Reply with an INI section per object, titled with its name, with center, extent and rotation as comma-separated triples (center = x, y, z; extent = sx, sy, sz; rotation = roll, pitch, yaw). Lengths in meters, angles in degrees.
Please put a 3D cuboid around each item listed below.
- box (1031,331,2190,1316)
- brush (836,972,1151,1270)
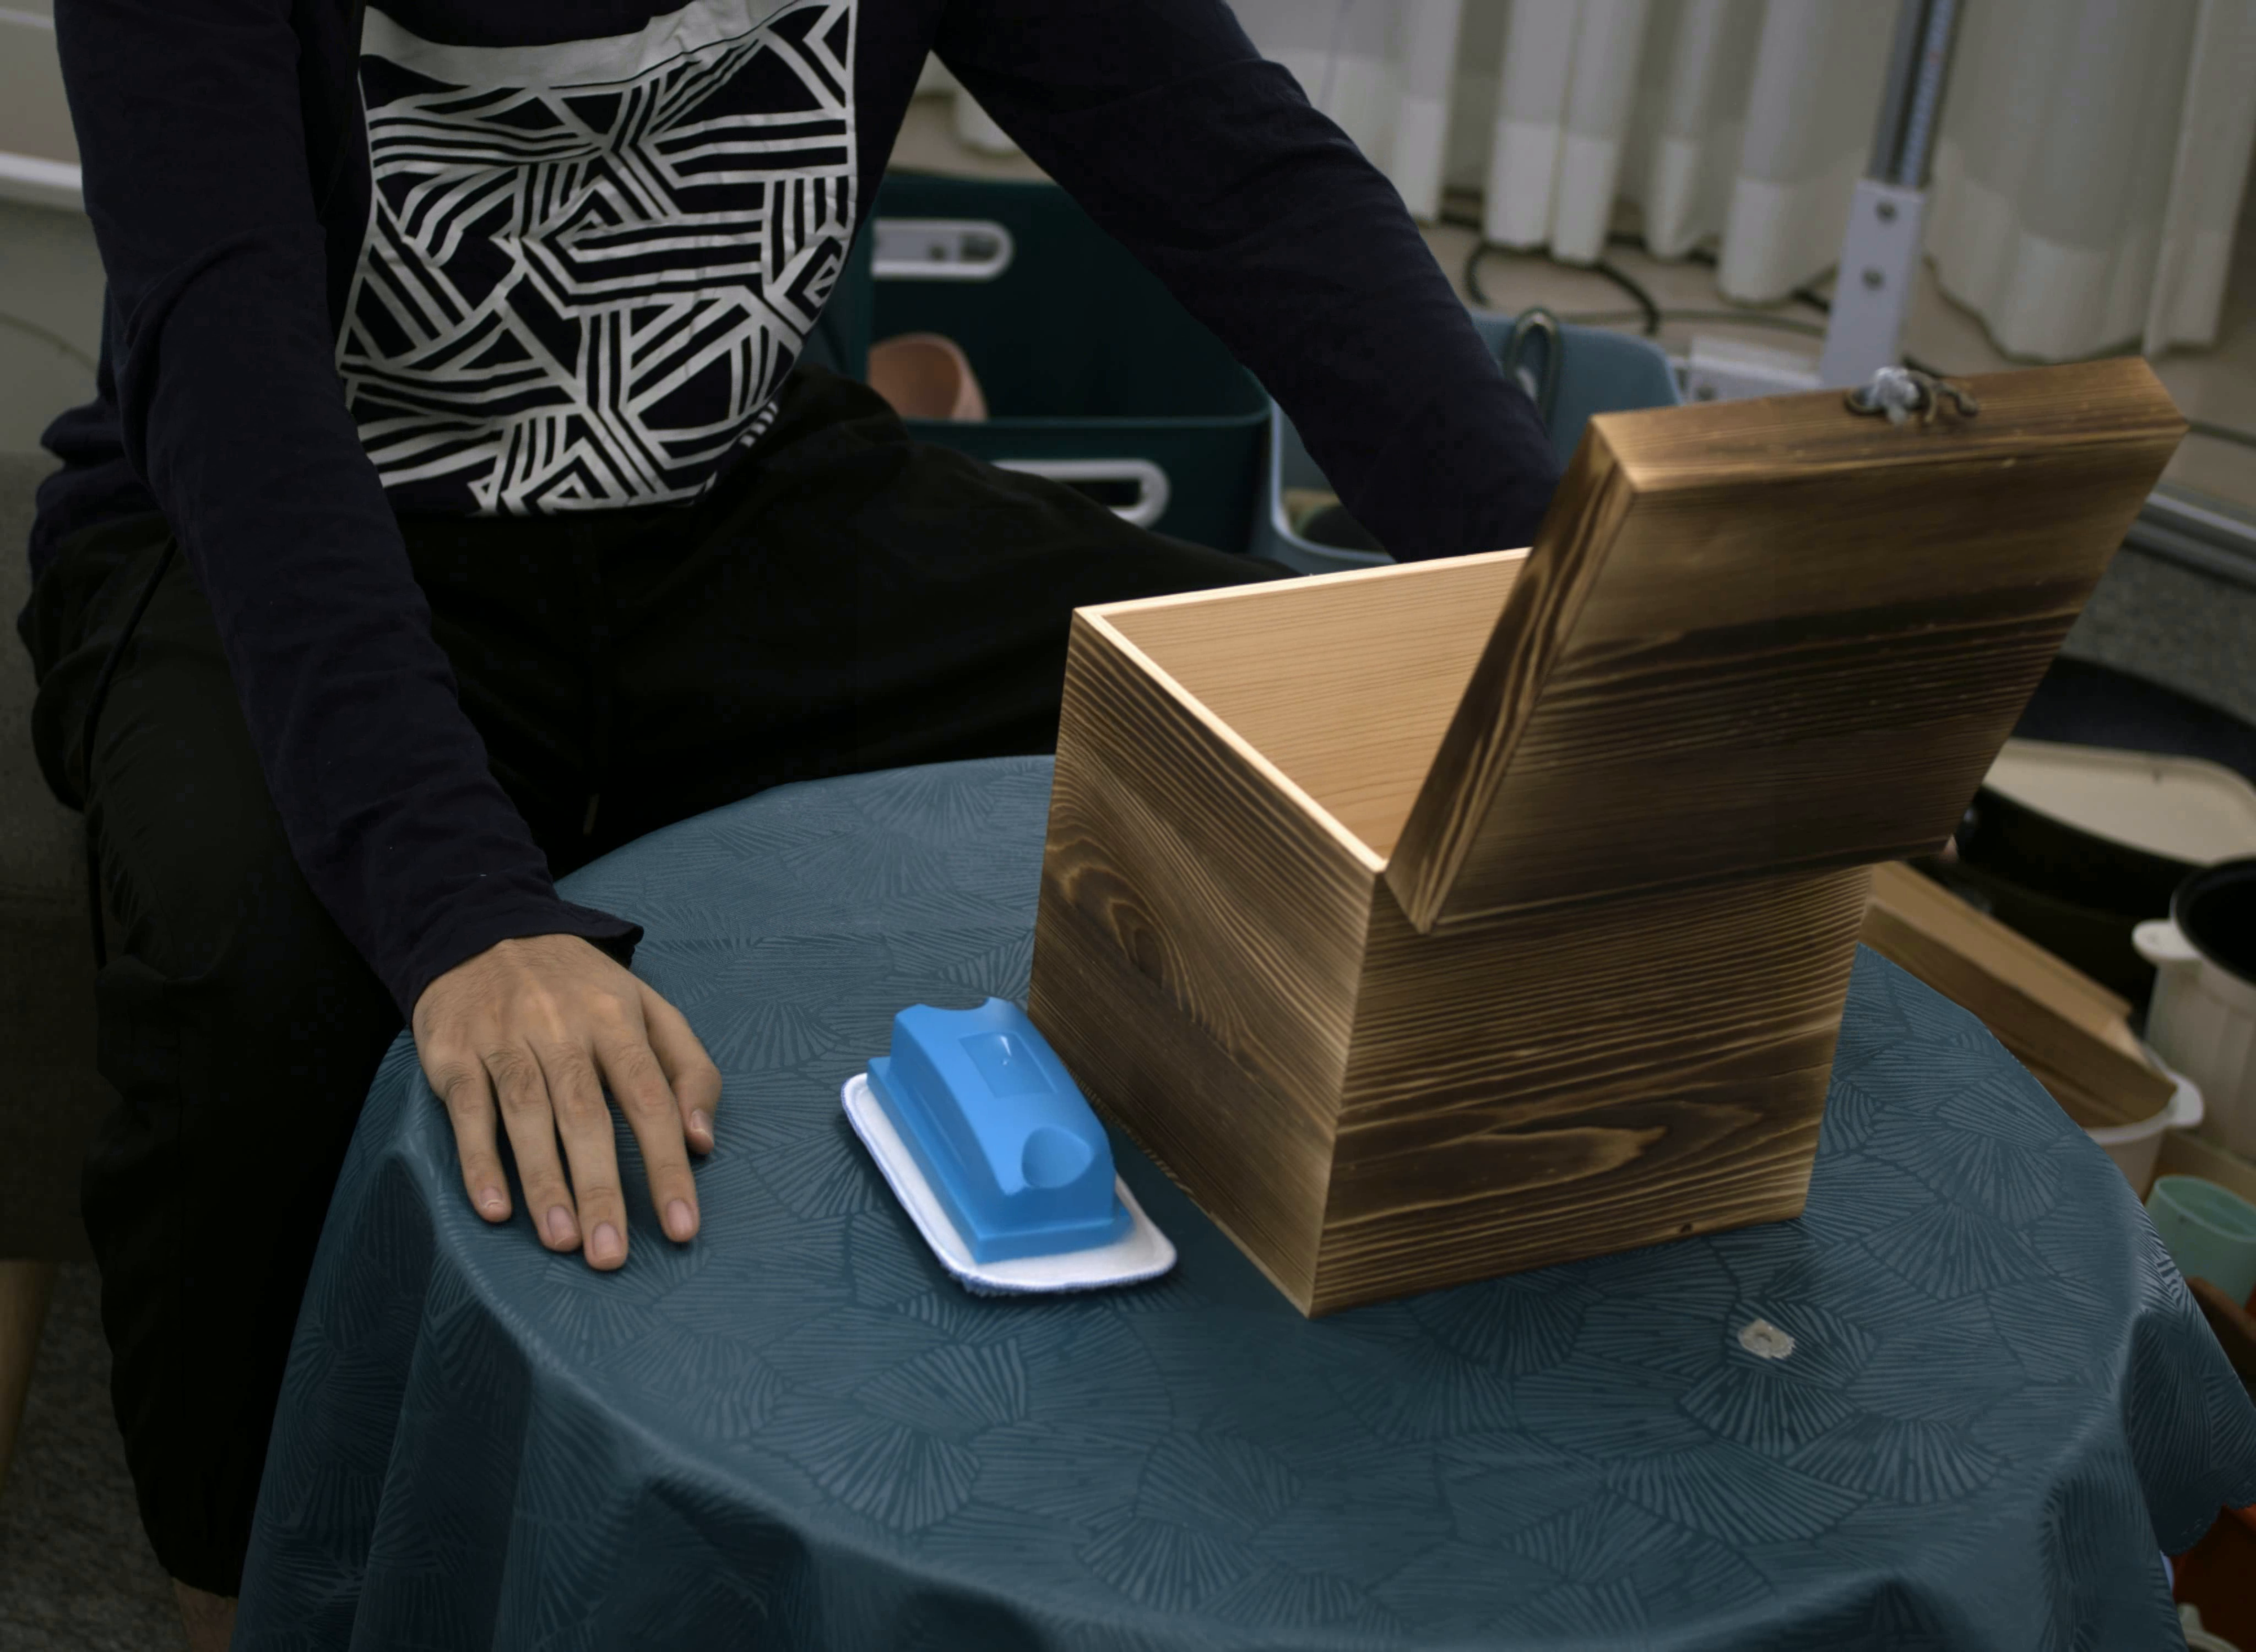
[box]
center = 0.144, -0.033, 1.749
extent = 0.207, 0.374, 0.325
rotation = -8, 30, -28
[brush]
center = -0.043, 0.095, 1.788
extent = 0.083, 0.056, 0.145
rotation = 0, 29, -19
